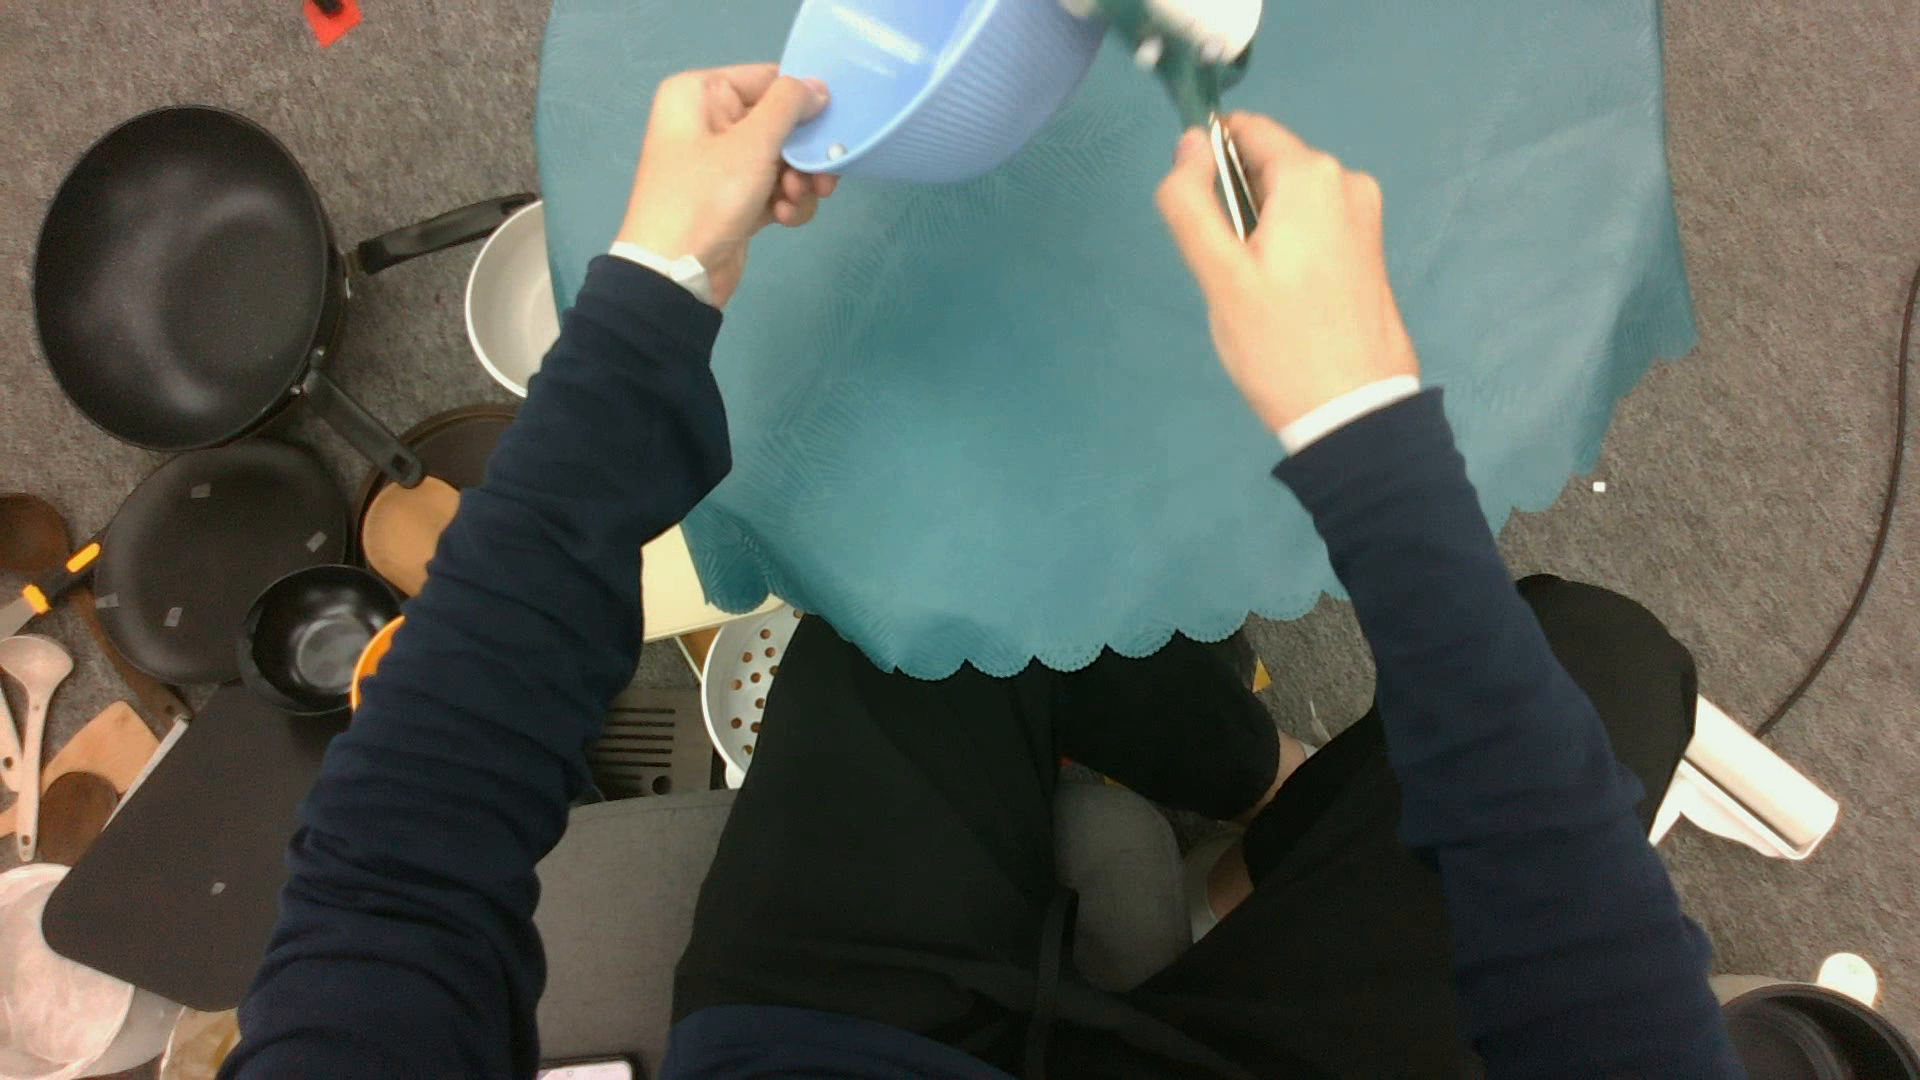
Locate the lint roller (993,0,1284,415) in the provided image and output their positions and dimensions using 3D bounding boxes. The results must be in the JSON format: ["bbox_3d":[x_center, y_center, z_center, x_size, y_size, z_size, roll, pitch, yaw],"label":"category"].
[{"bbox_3d":[0.090,-0.135,0.525,0.048,0.135,0.180,-37,74,36],"label":"lint roller"}]

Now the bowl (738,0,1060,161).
[{"bbox_3d":[-0.017,-0.230,0.584,0.070,0.175,0.176,25,78,-35],"label":"bowl"}]
